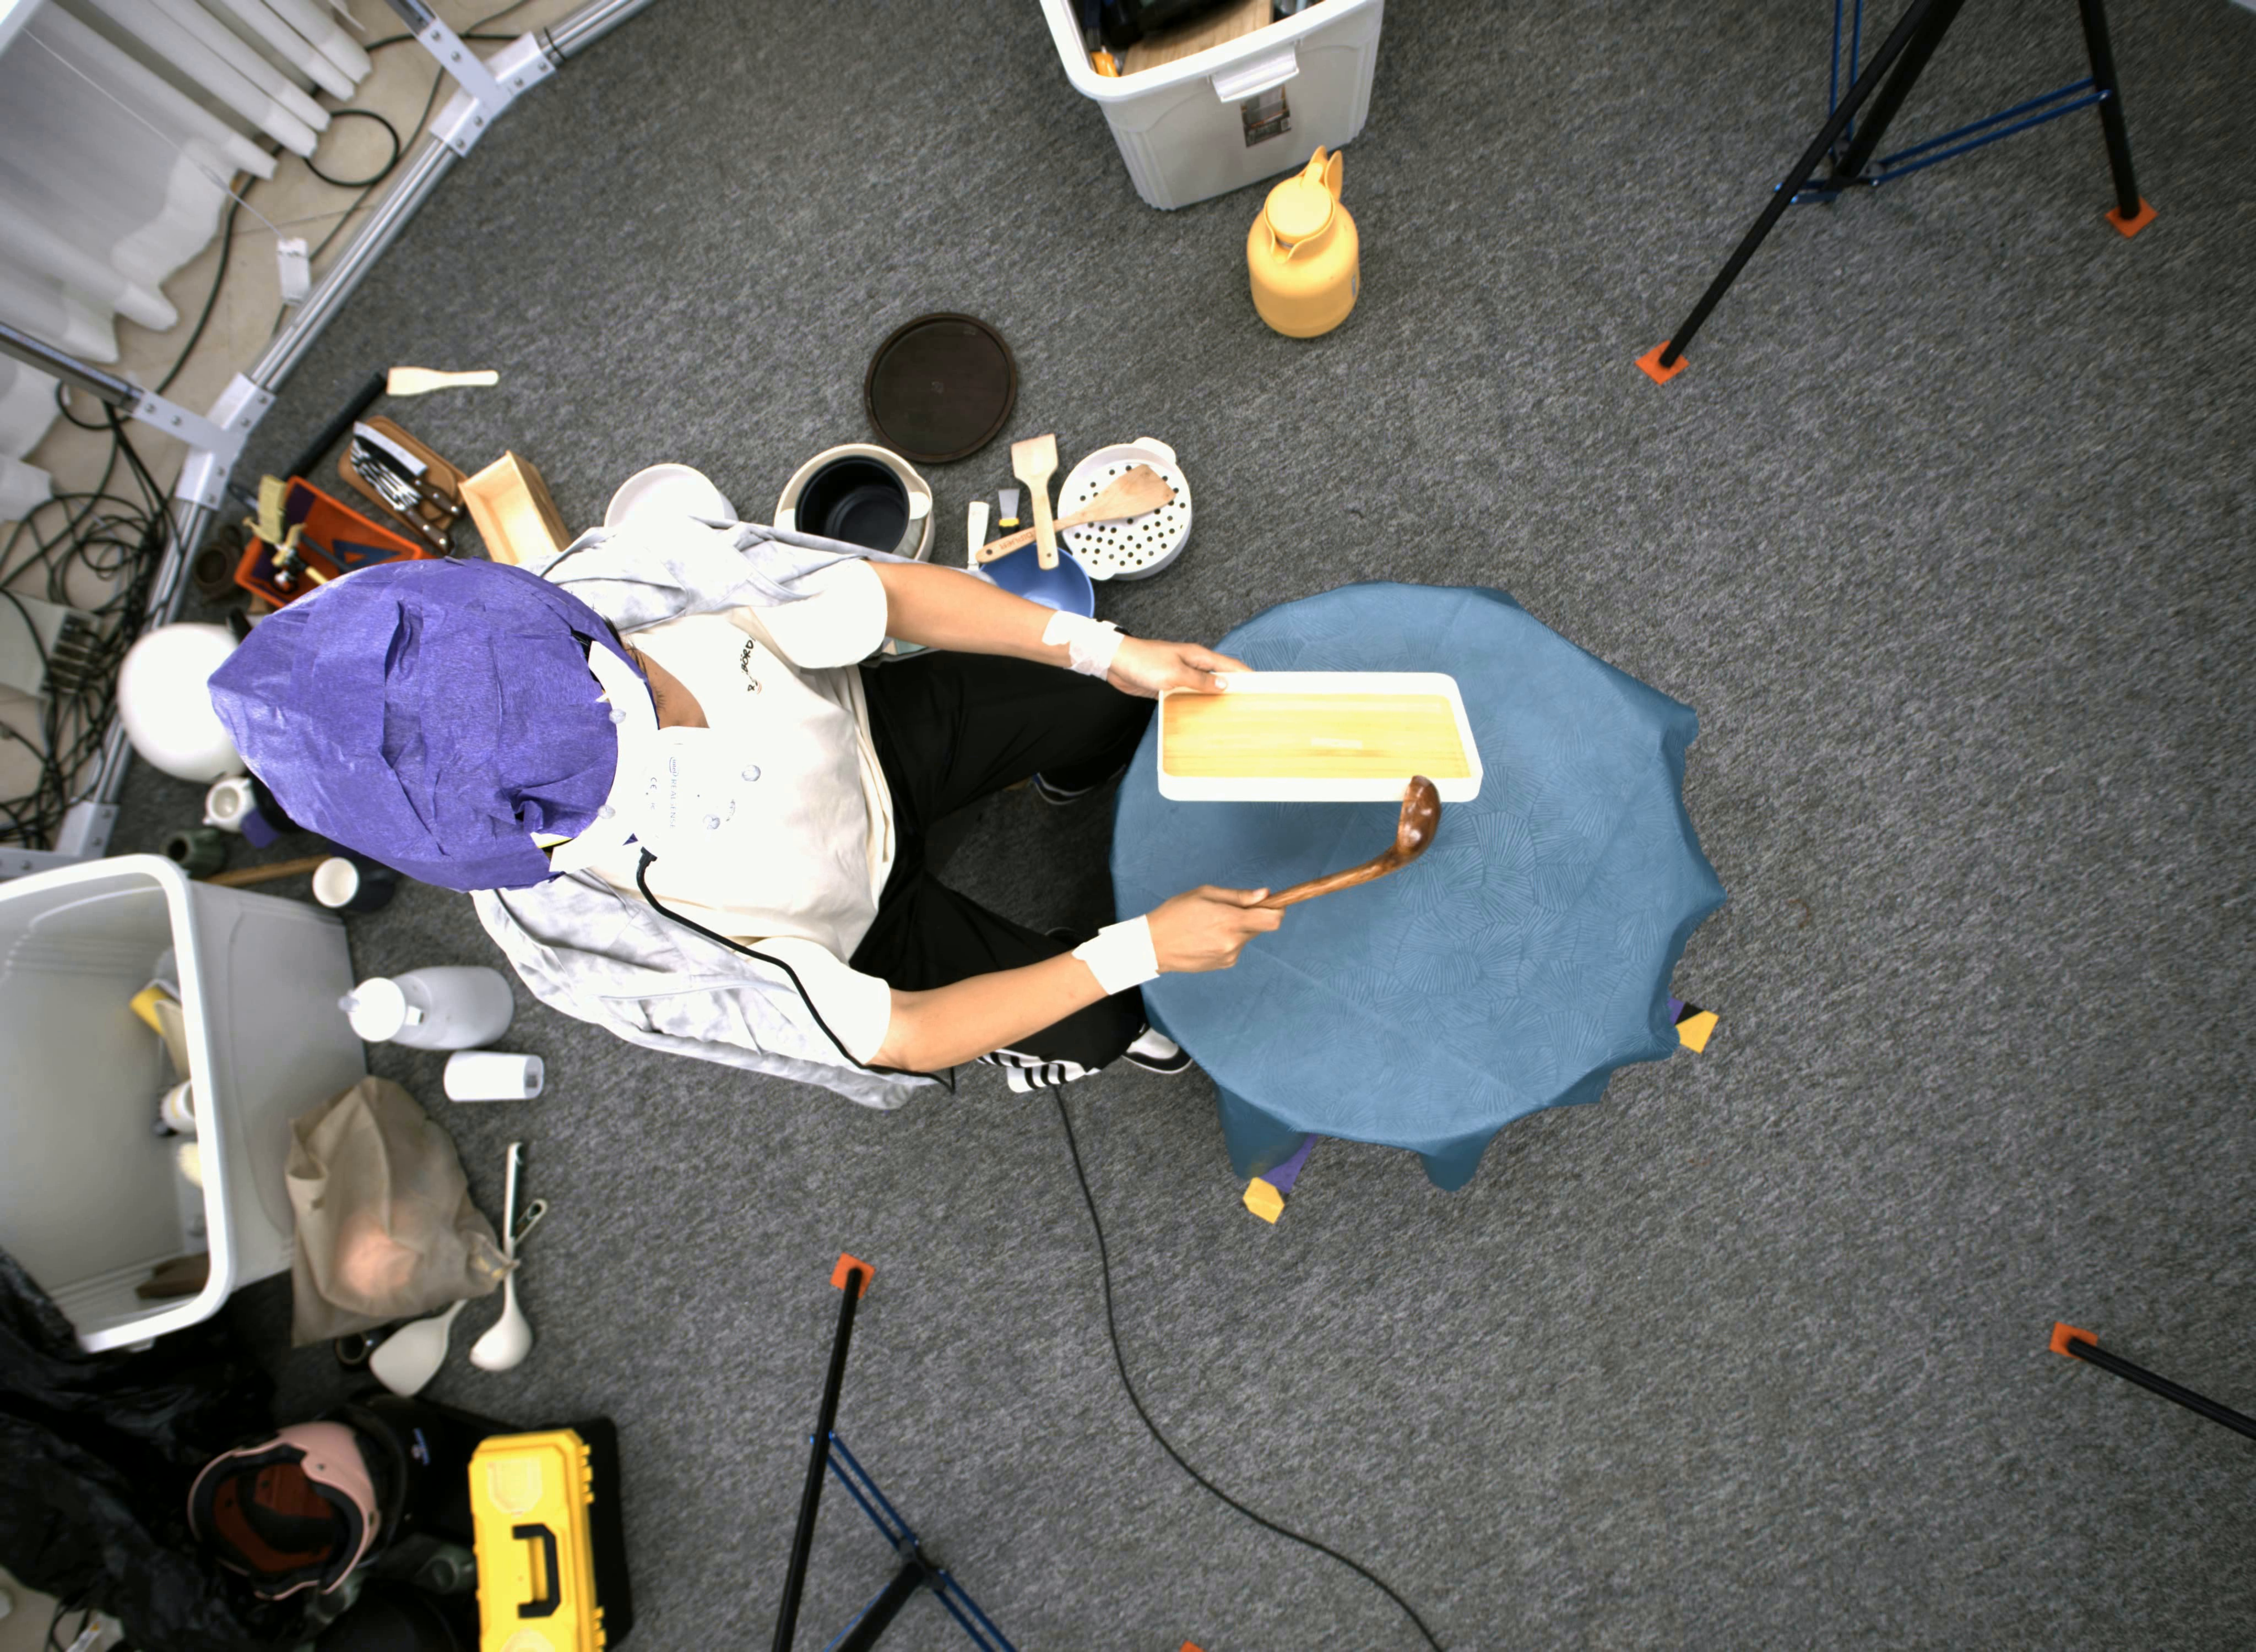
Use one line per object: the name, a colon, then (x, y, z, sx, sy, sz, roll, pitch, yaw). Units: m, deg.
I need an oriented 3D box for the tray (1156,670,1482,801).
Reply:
tray: (0.178, -0.091, 1.333, 0.301, 0.186, 0.028, 0, 129, 3)

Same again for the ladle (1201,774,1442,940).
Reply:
ladle: (0.169, 0.030, 1.282, 0.278, 0.080, 0.077, -23, 93, 31)
